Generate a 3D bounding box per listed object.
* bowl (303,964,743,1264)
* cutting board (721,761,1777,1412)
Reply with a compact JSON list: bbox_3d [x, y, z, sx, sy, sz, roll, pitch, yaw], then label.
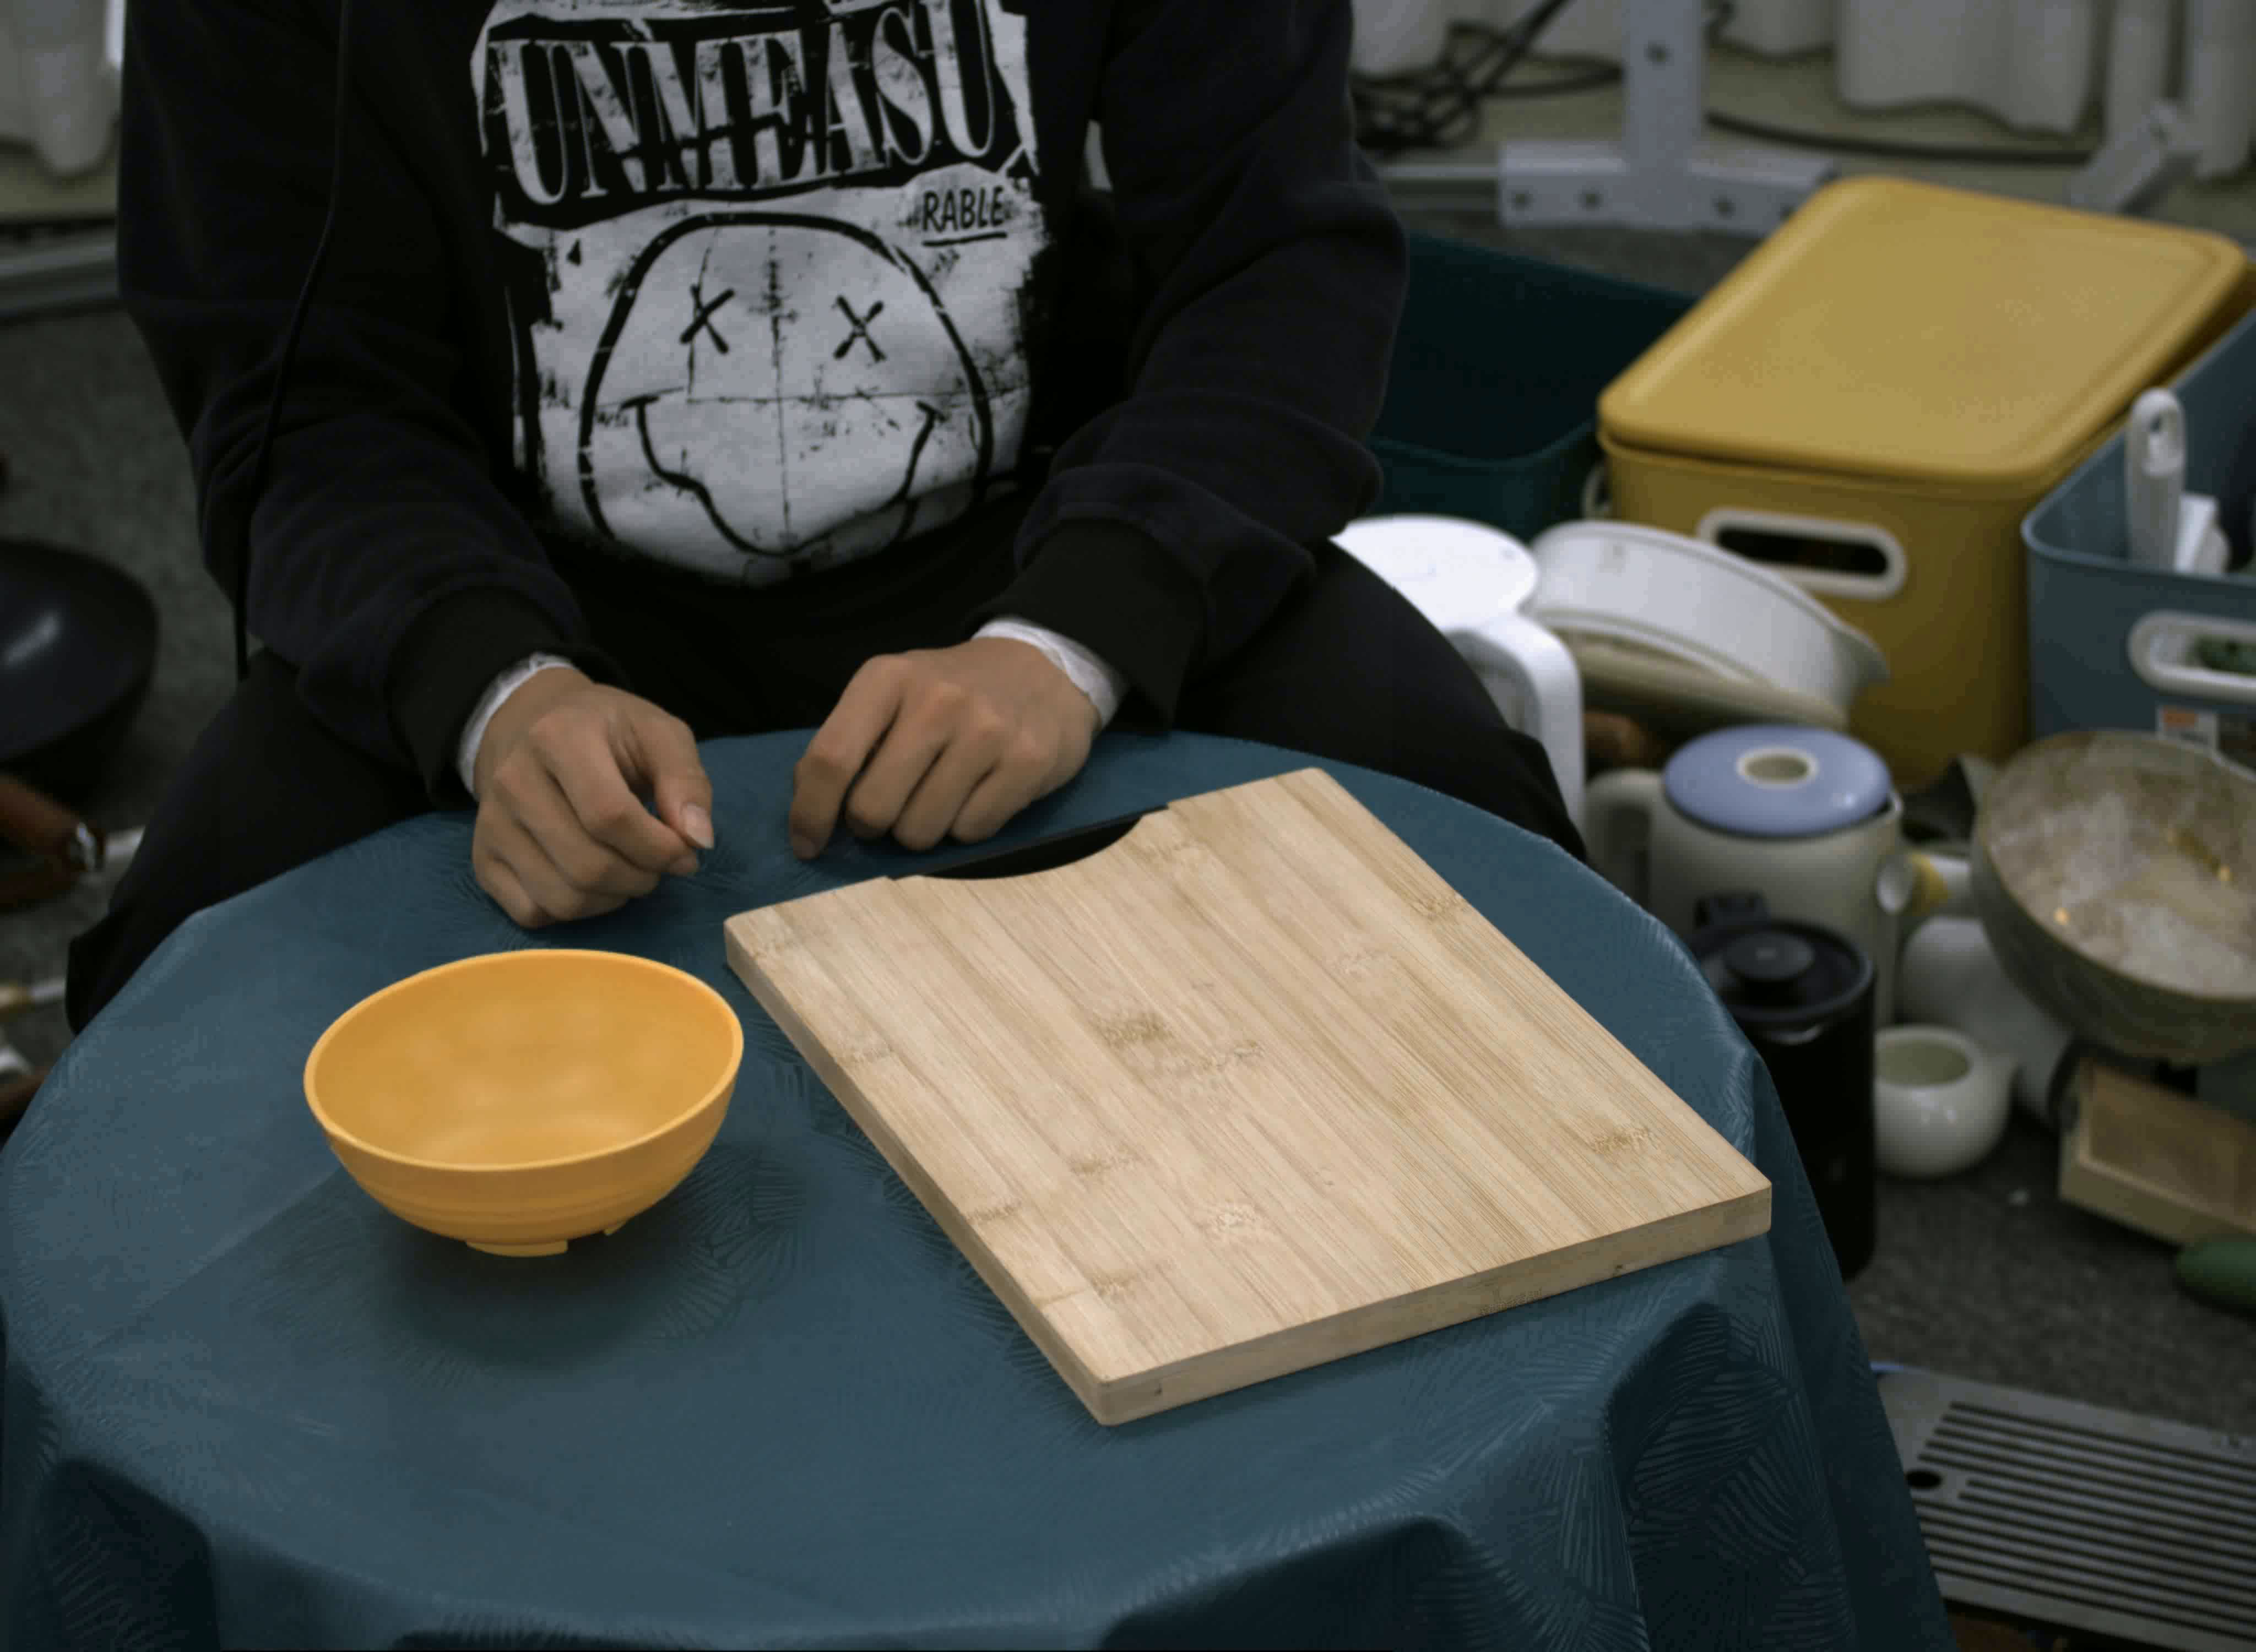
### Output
[{"bbox_3d":[-0.198,0.104,1.856,0.144,0.059,0.147,-1,25,1],"label":"bowl"},{"bbox_3d":[0.032,0.081,1.919,0.252,0.023,0.351,-14,29,-21],"label":"cutting board"}]
